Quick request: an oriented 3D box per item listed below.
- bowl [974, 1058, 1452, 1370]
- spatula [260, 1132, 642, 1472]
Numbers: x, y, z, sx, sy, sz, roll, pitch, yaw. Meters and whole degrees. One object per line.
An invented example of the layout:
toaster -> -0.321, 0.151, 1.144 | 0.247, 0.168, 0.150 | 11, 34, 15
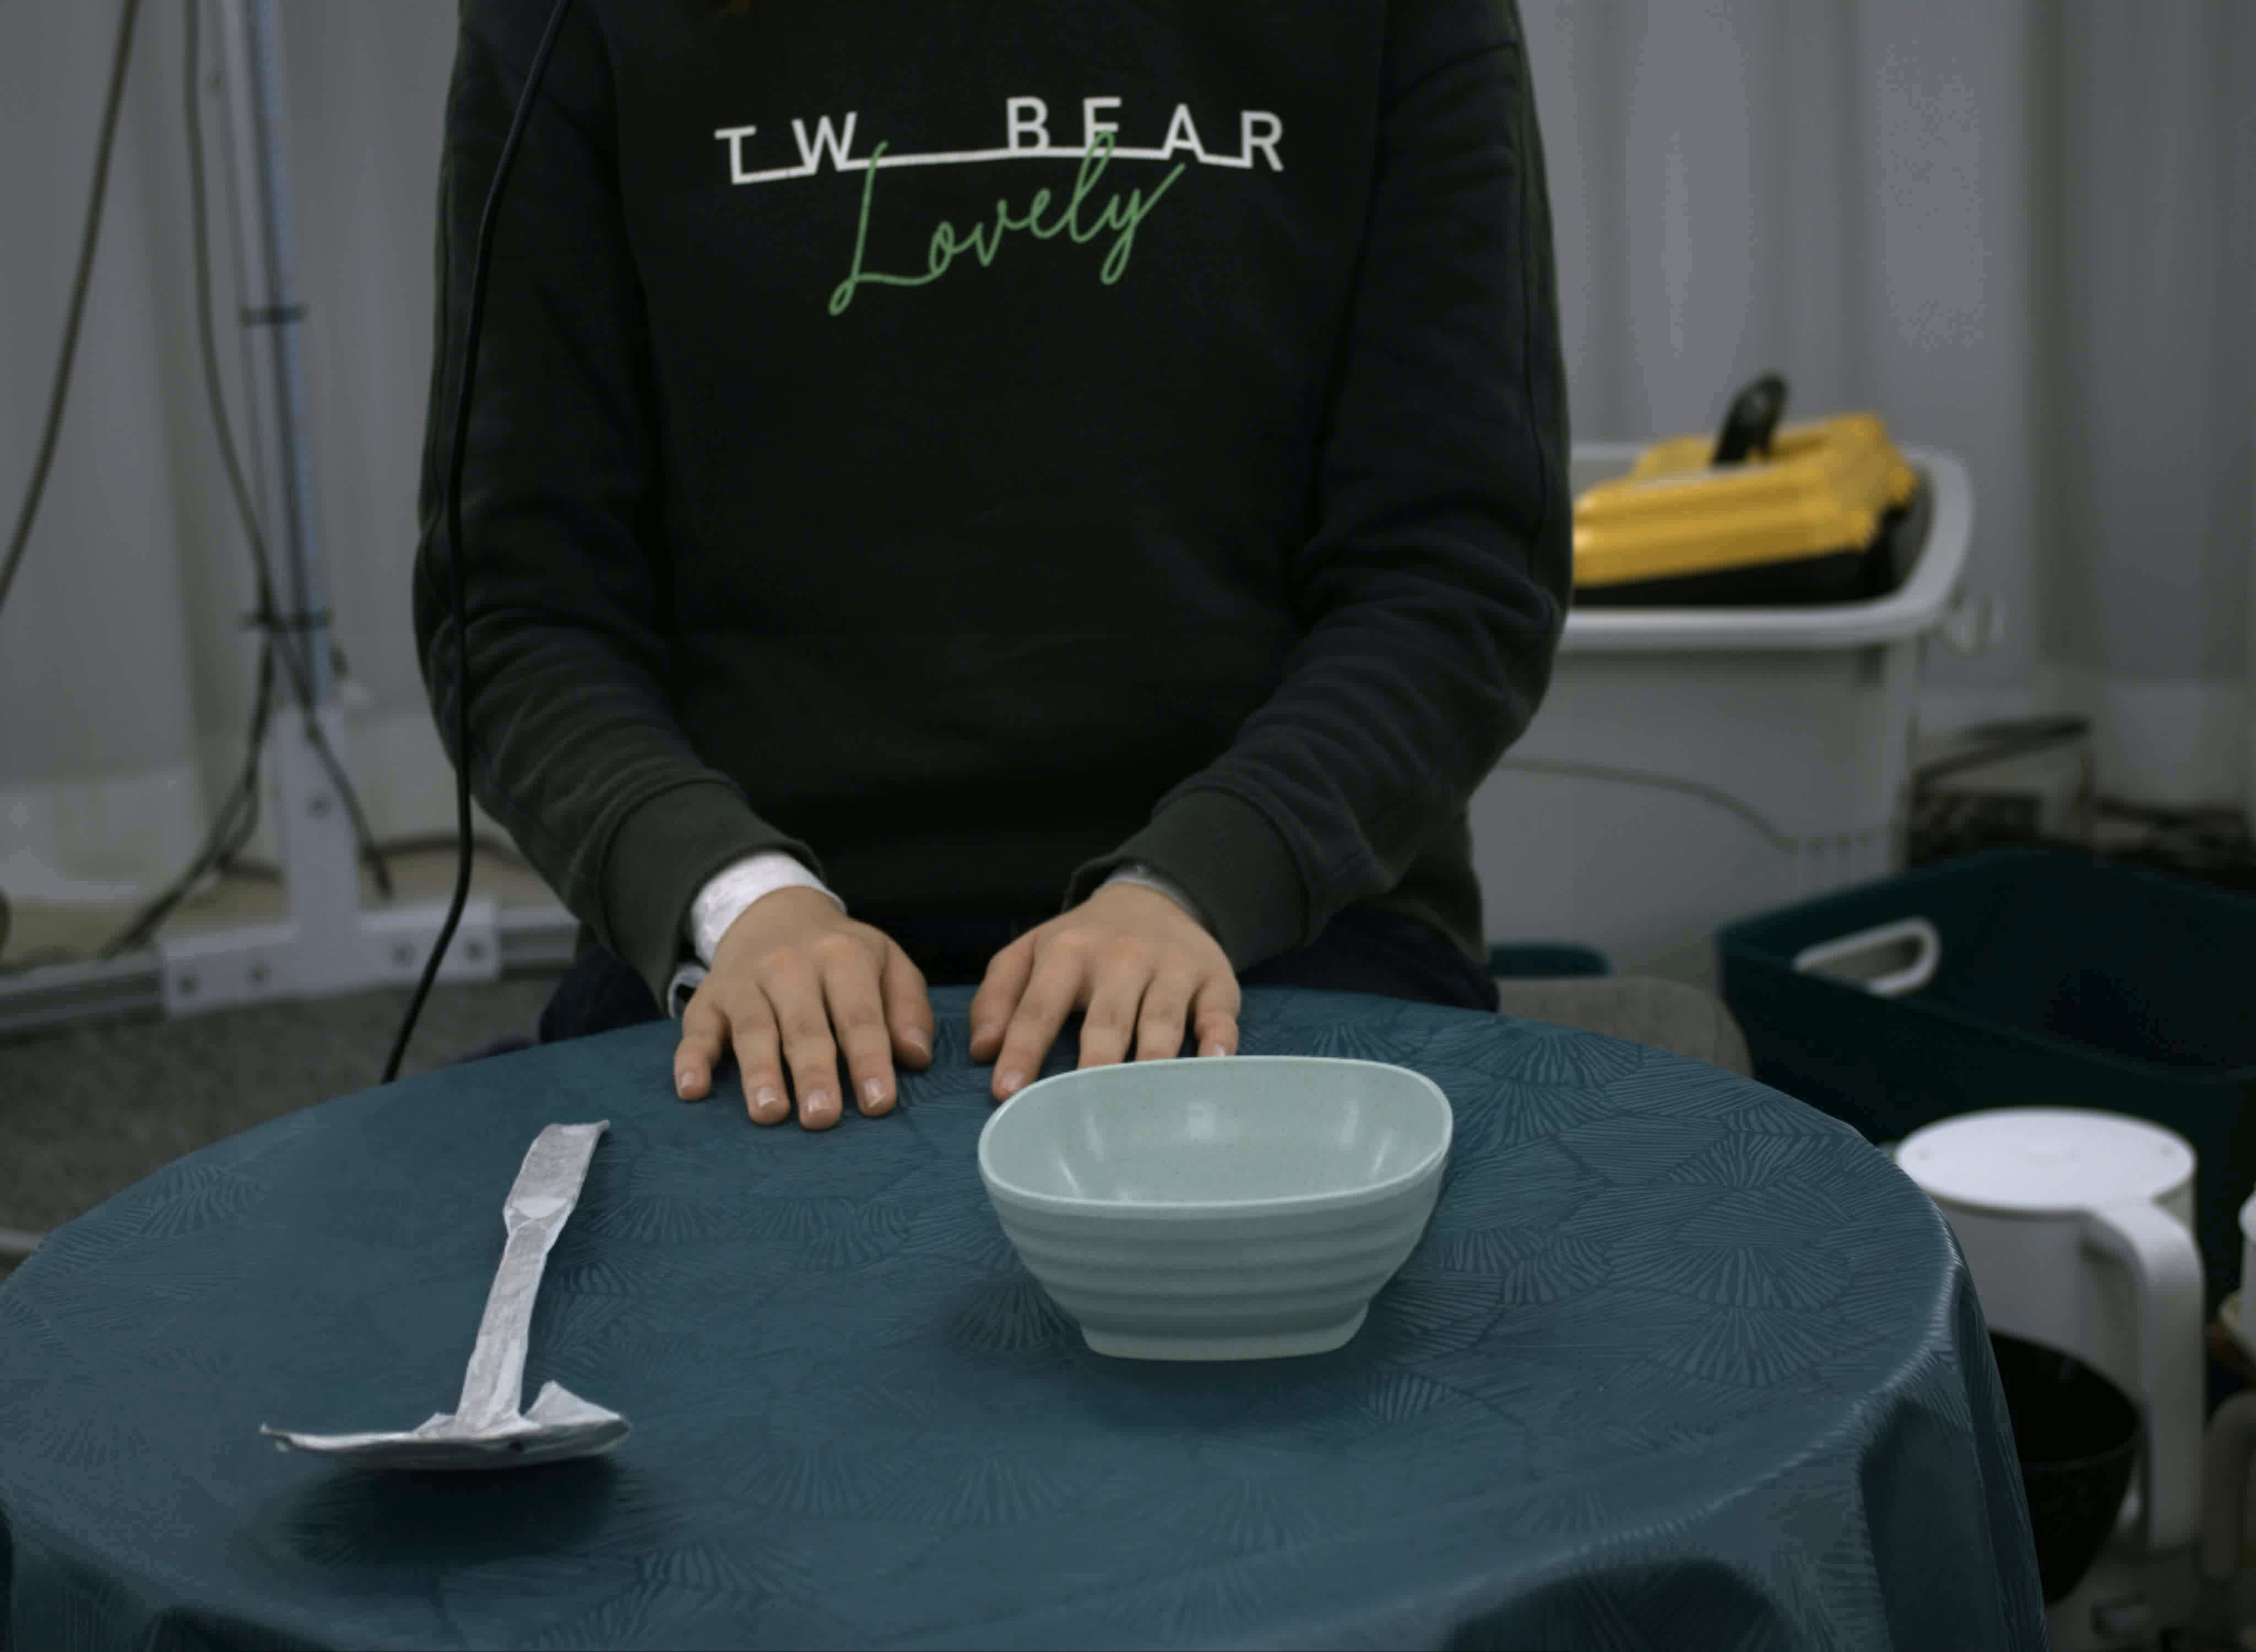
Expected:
bowl -> 0.025, 0.117, 1.598 | 0.151, 0.058, 0.152 | -1, 16, 0
spatula -> -0.177, 0.131, 1.612 | 0.098, 0.044, 0.367 | -4, 15, 3
